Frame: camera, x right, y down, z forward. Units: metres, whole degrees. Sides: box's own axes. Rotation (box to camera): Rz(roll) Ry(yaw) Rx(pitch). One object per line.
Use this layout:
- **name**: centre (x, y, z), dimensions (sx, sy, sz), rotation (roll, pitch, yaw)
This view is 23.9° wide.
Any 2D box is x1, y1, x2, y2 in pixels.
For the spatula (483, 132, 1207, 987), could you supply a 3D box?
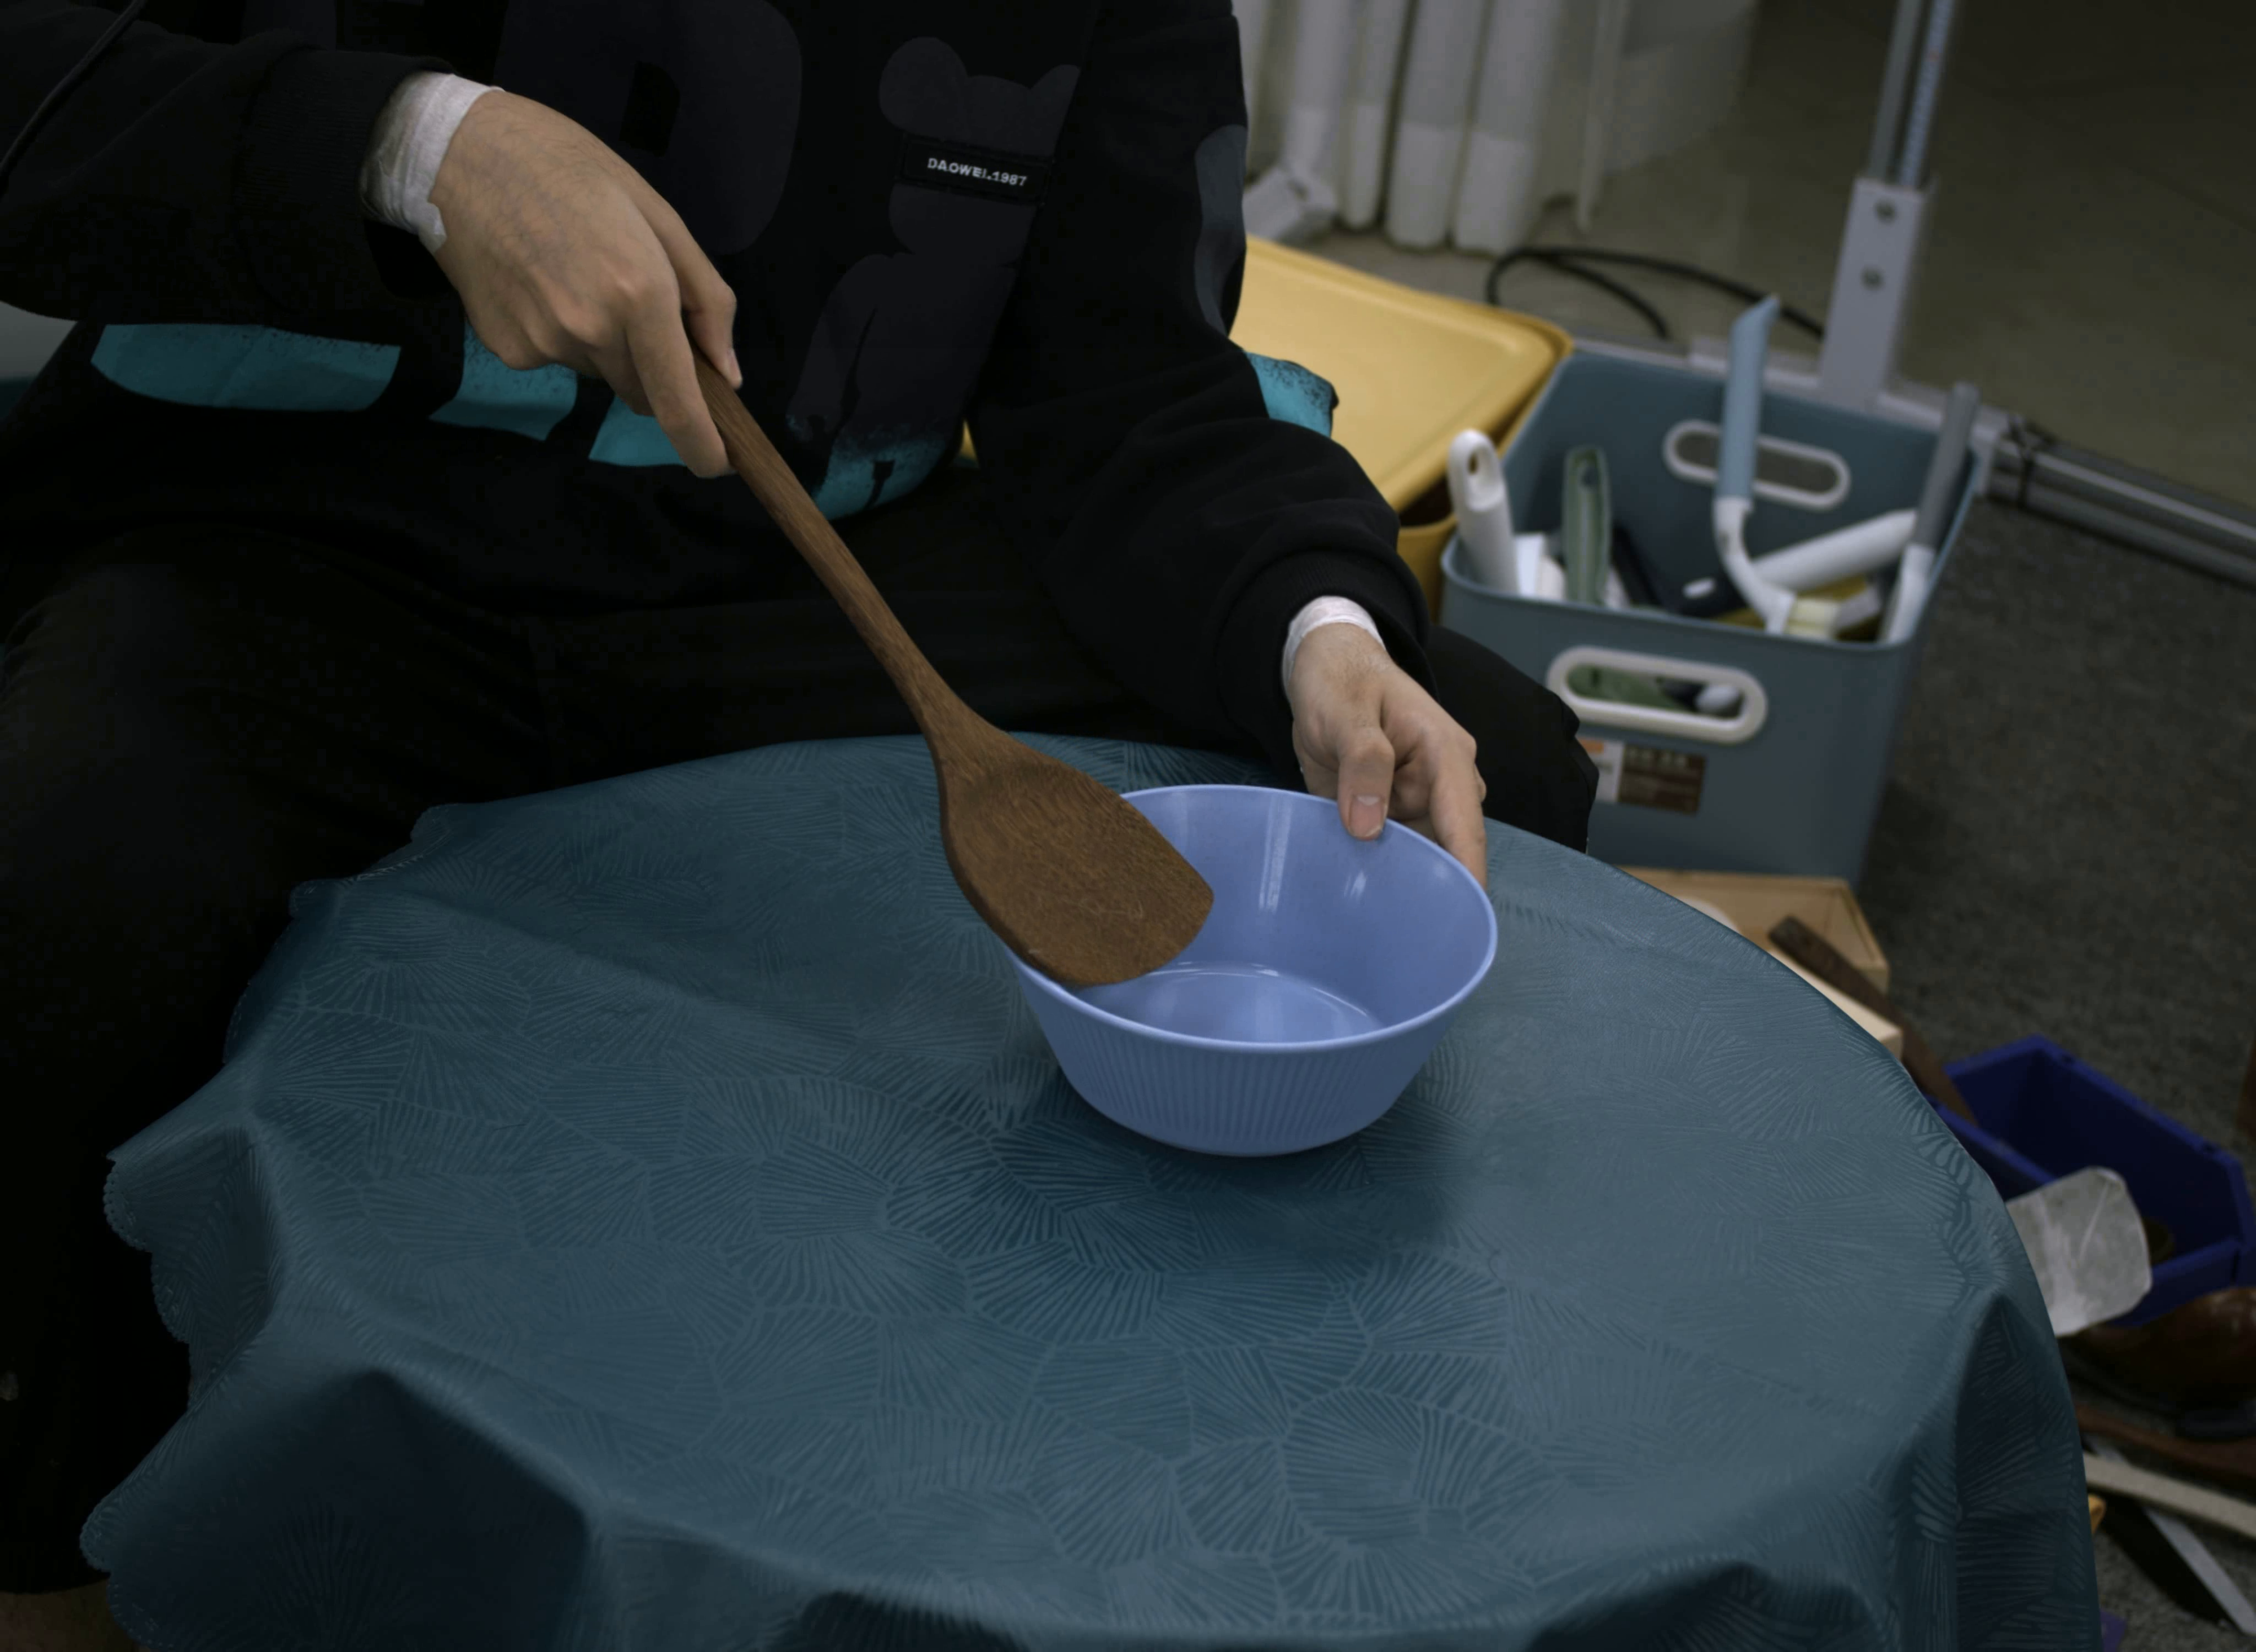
- **spatula**: centre (-0.109, -0.099, 1.866), dimensions (0.096, 0.016, 0.387), rotation (-26, 74, -47)

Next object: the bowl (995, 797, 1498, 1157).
- **bowl**: centre (0.039, 0.059, 1.853), dimensions (0.175, 0.070, 0.177), rotation (3, 28, -2)
